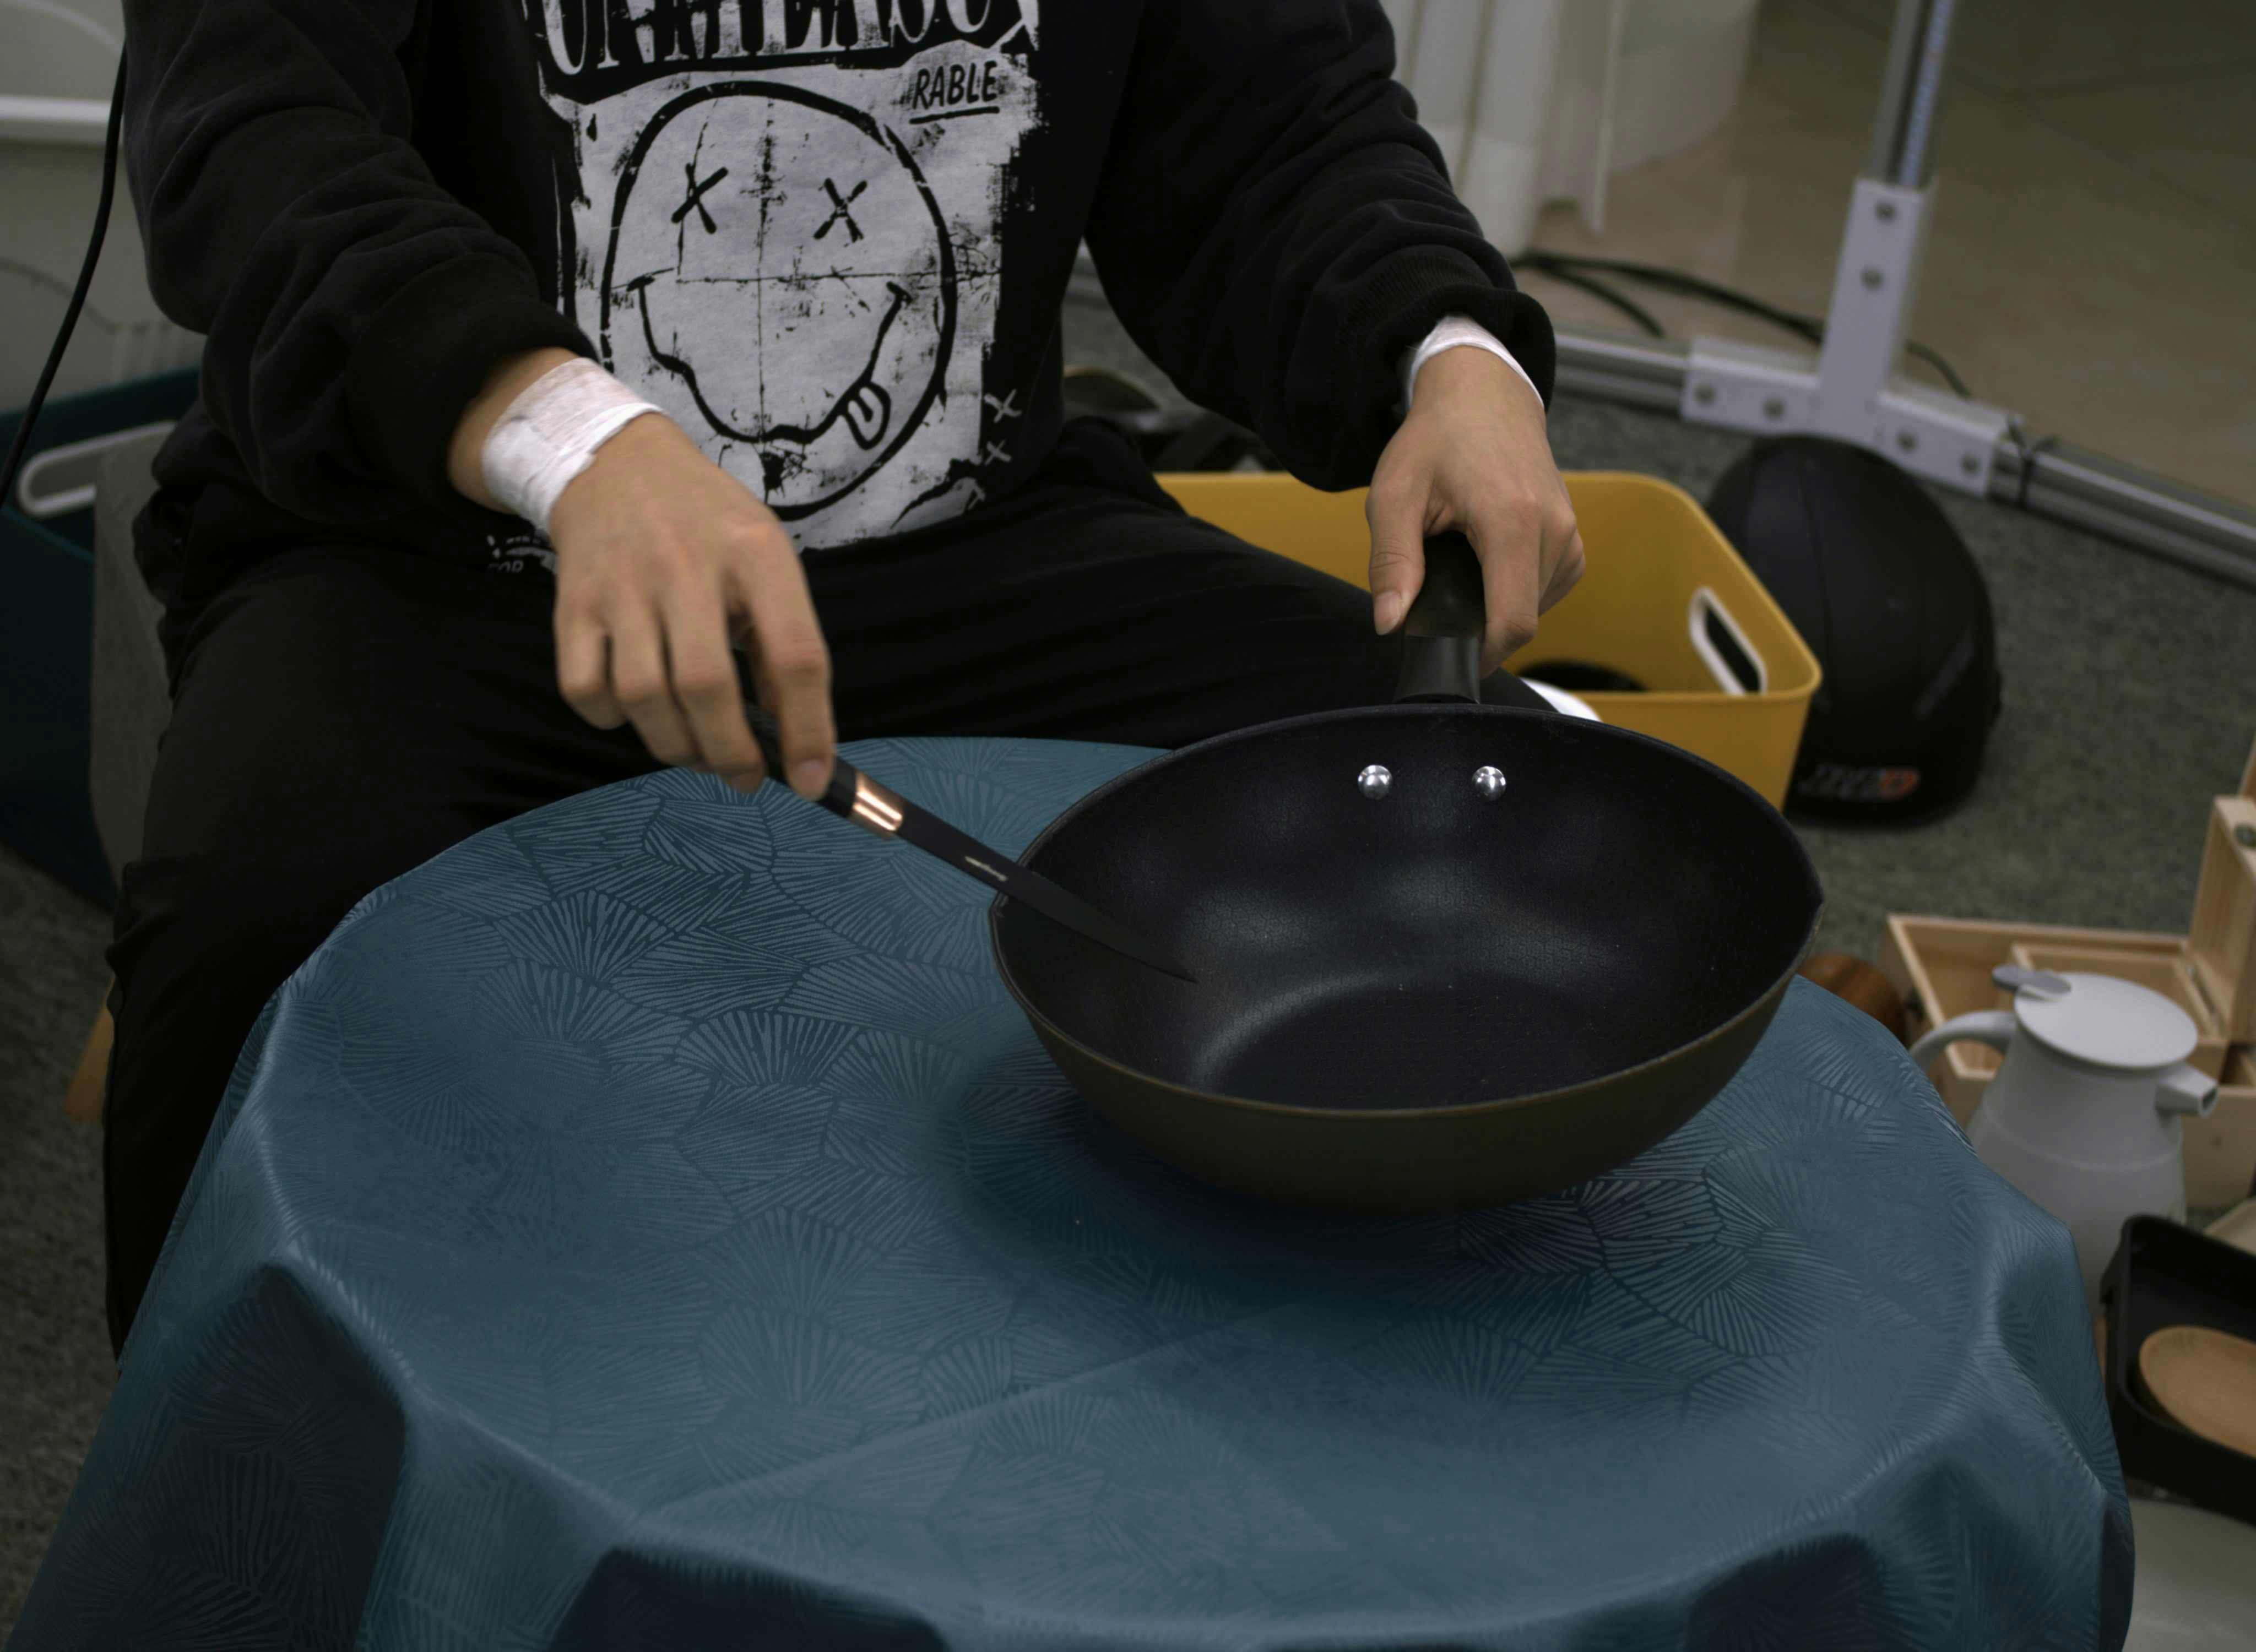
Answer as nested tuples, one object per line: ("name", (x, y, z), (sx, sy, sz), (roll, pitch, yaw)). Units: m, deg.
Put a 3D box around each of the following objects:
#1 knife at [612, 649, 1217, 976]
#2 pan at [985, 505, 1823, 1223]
("knife", (-0.070, -0.002, 1.768), (0.225, 0.017, 0.026), (28, 22, -1))
("pan", (0.106, 0.016, 1.917), (0.288, 0.086, 0.465), (0, 28, 8))
